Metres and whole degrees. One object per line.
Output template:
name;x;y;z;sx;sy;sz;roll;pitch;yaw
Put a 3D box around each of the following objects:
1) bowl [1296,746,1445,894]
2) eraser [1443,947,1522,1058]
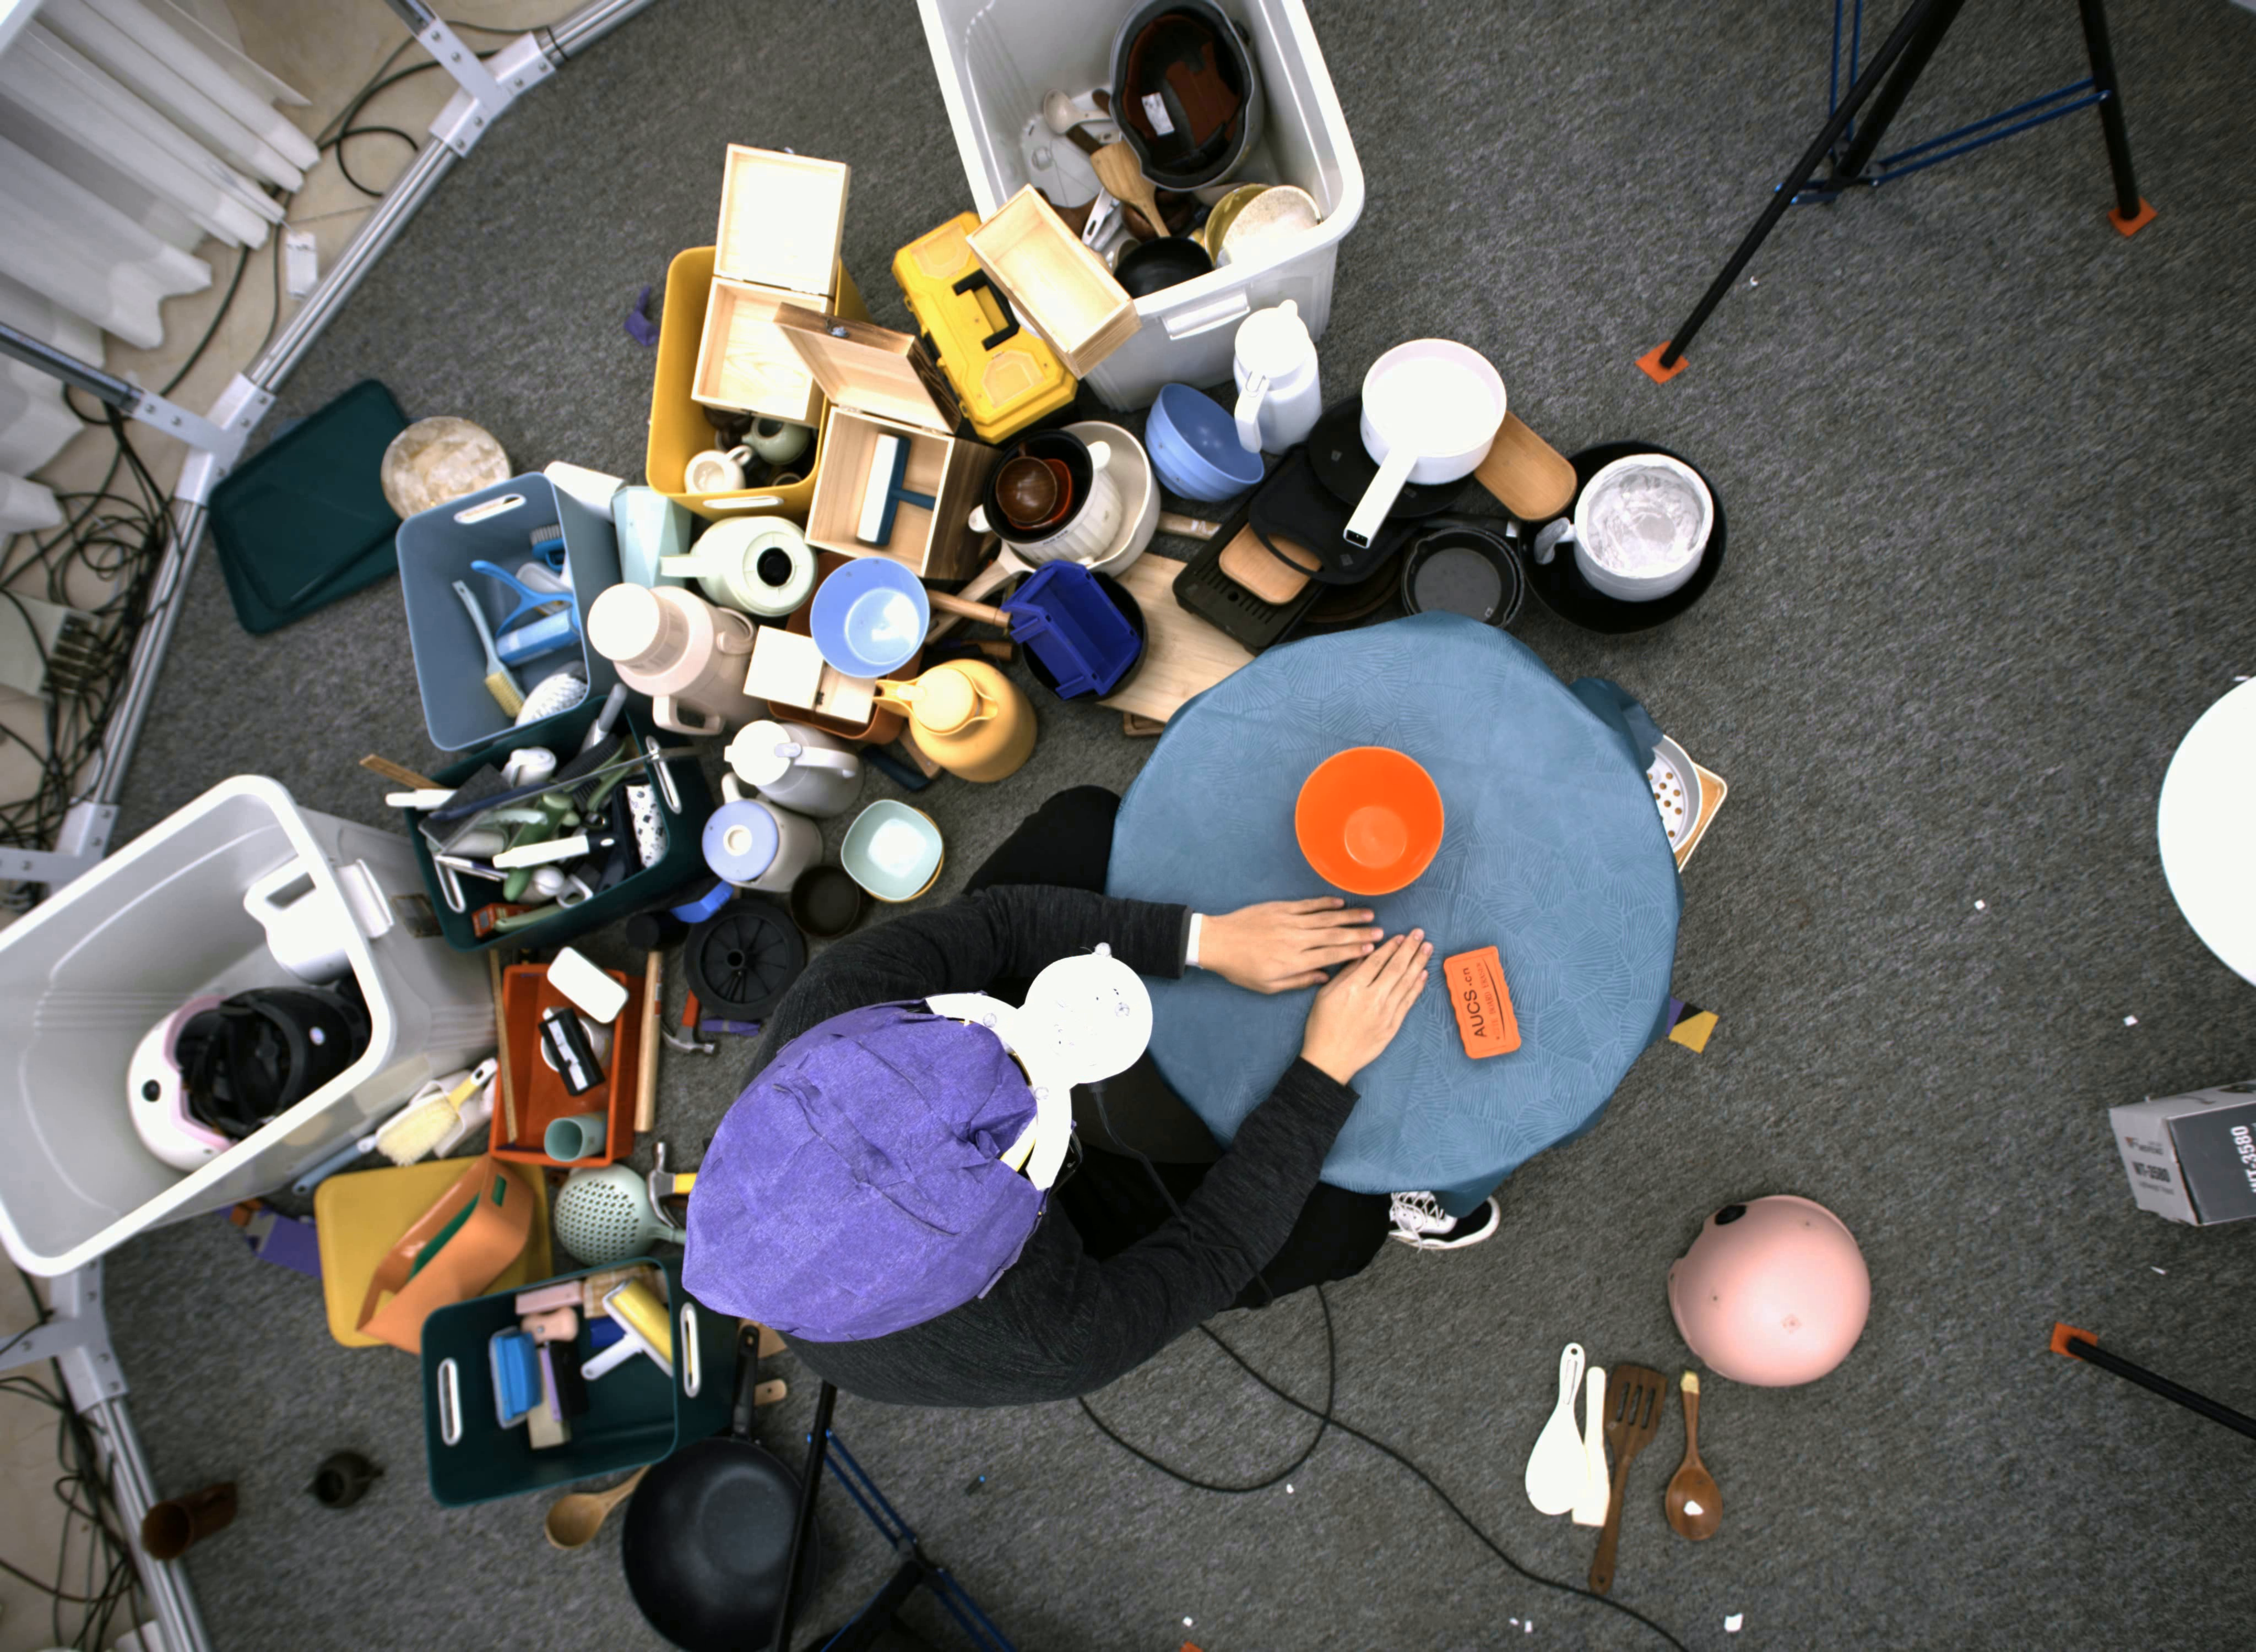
bowl;0.249;-0.003;1.417;0.148;0.105;0.147;-1;85;10
eraser;0.365;0.180;1.421;0.059;0.023;0.107;-15;83;7
